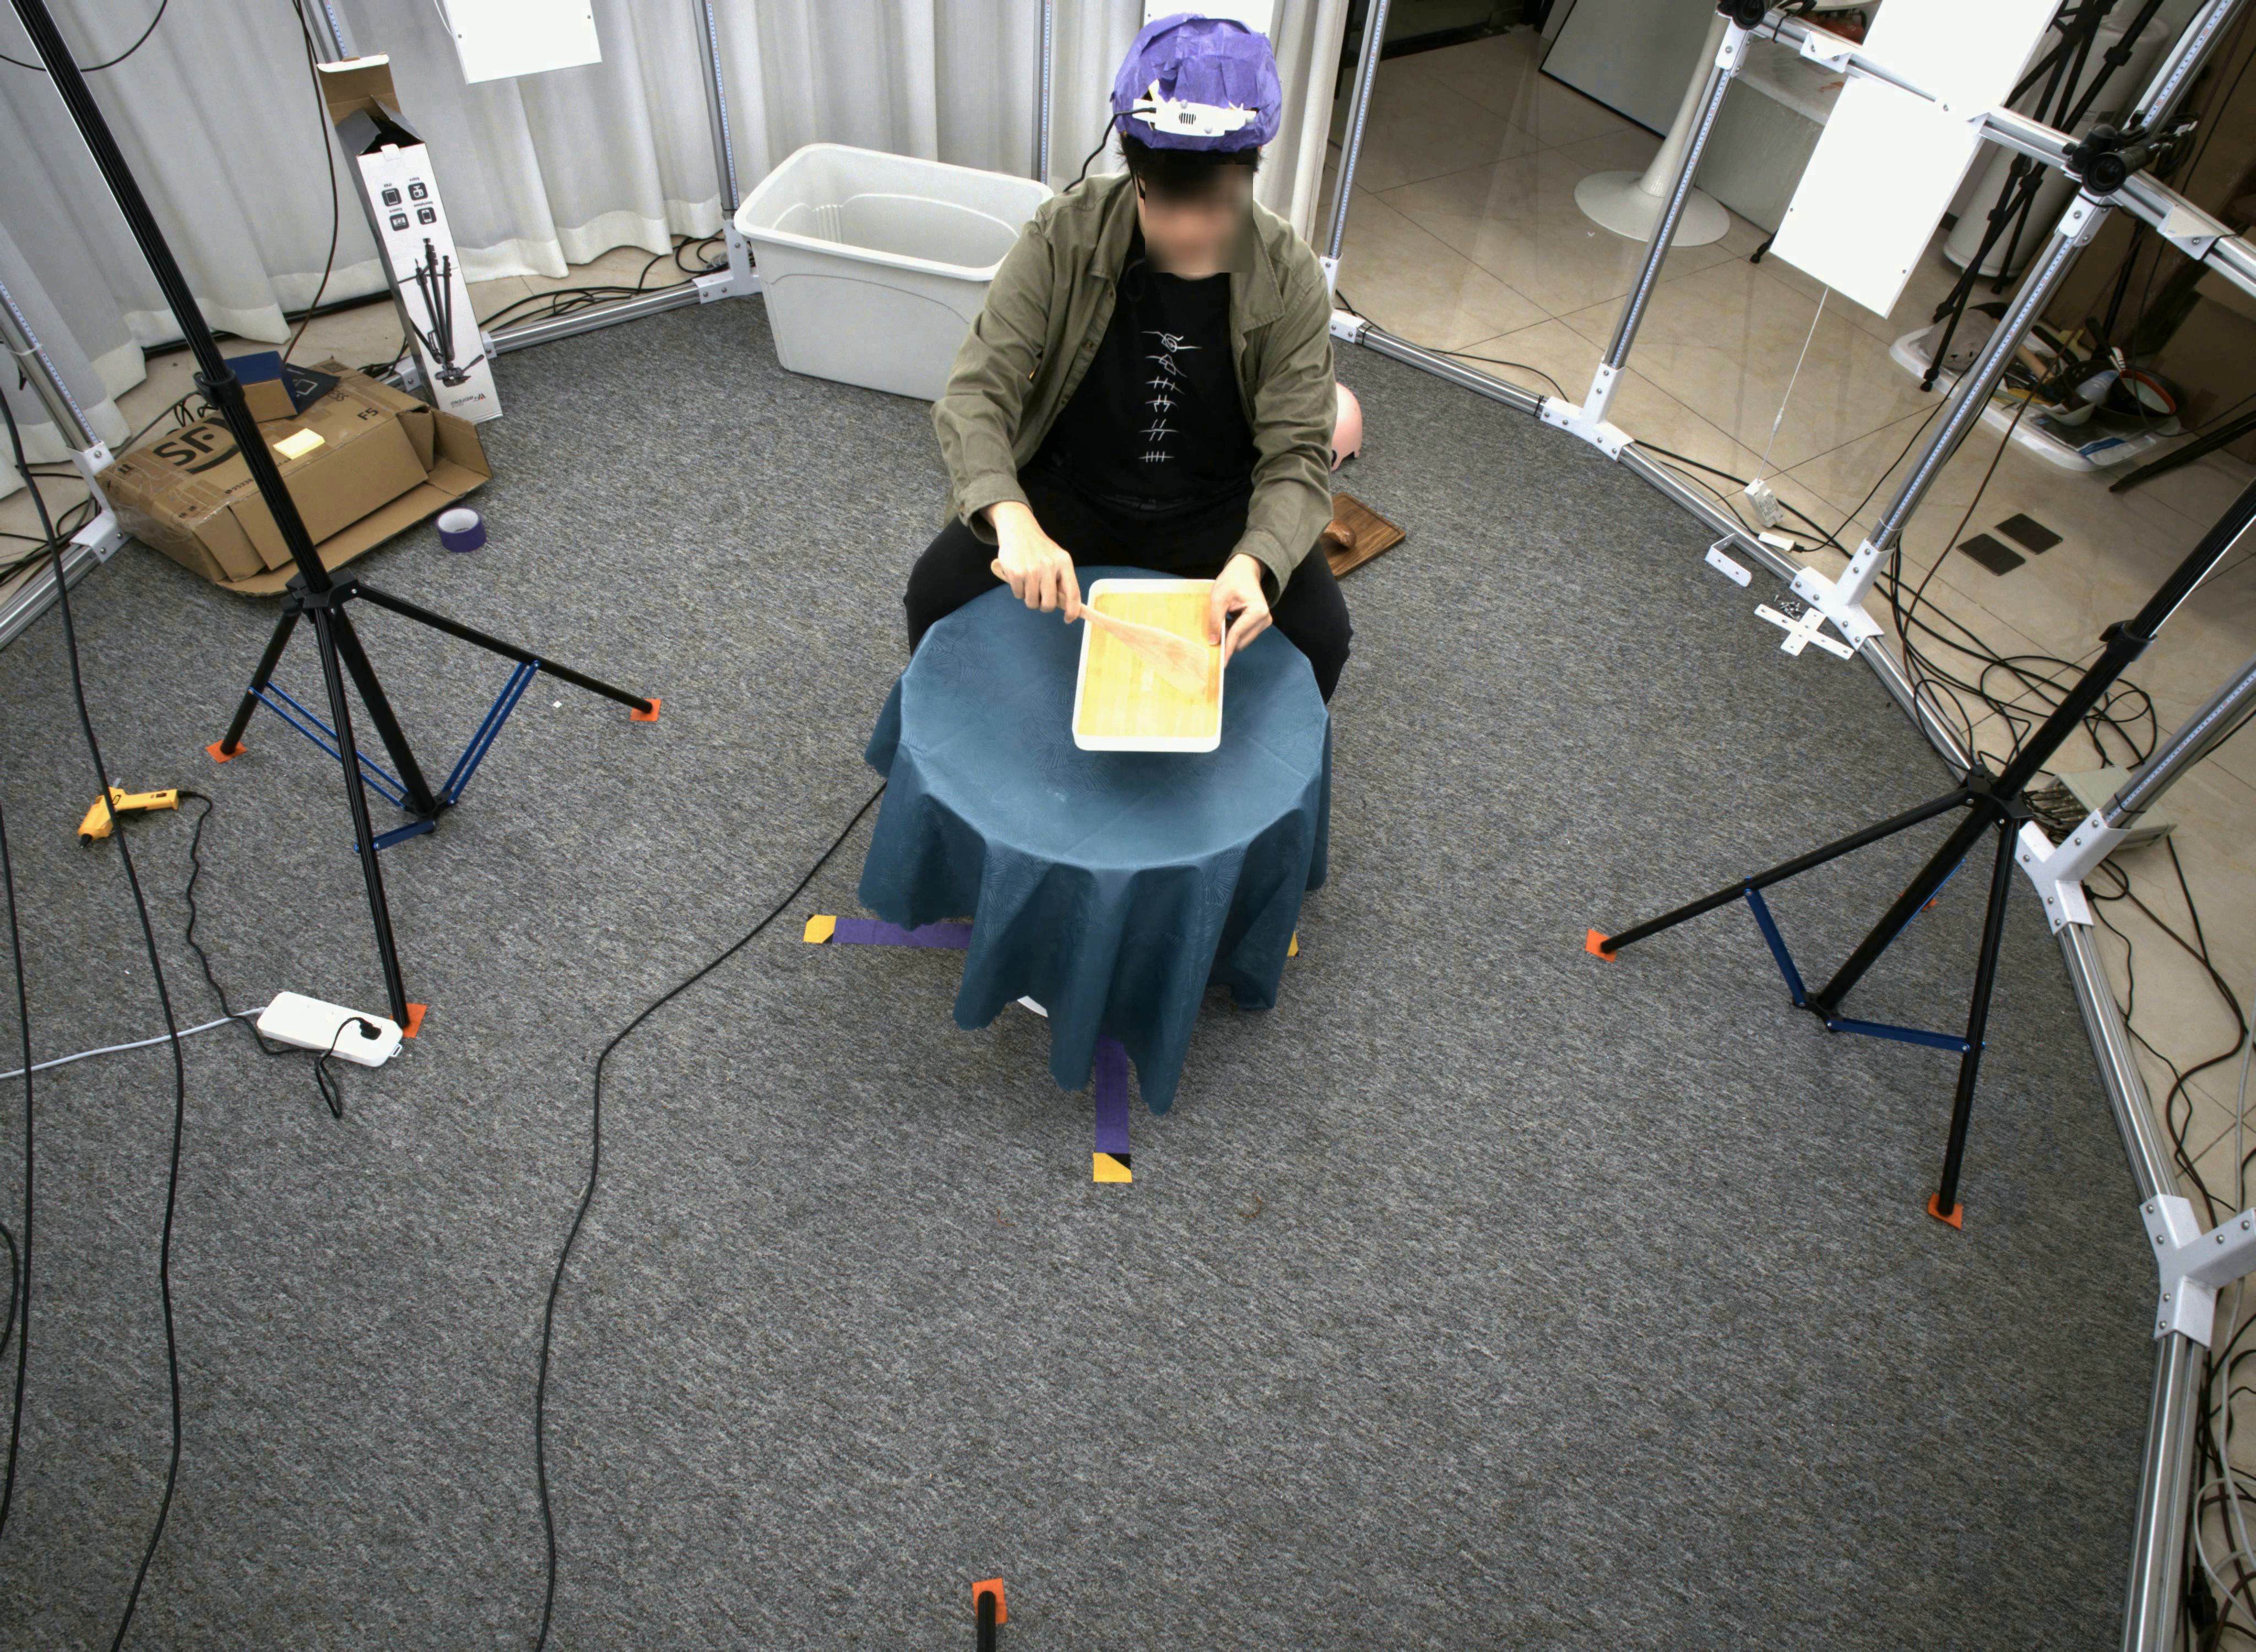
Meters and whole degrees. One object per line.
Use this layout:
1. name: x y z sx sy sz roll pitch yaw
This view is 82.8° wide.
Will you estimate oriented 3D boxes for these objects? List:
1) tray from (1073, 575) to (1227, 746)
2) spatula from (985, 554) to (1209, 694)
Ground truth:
1. tray: 0.034 -0.227 1.716 0.191 0.027 0.307 2 49 4
2. spatula: -0.039 -0.271 1.657 0.328 0.078 0.017 27 45 5
